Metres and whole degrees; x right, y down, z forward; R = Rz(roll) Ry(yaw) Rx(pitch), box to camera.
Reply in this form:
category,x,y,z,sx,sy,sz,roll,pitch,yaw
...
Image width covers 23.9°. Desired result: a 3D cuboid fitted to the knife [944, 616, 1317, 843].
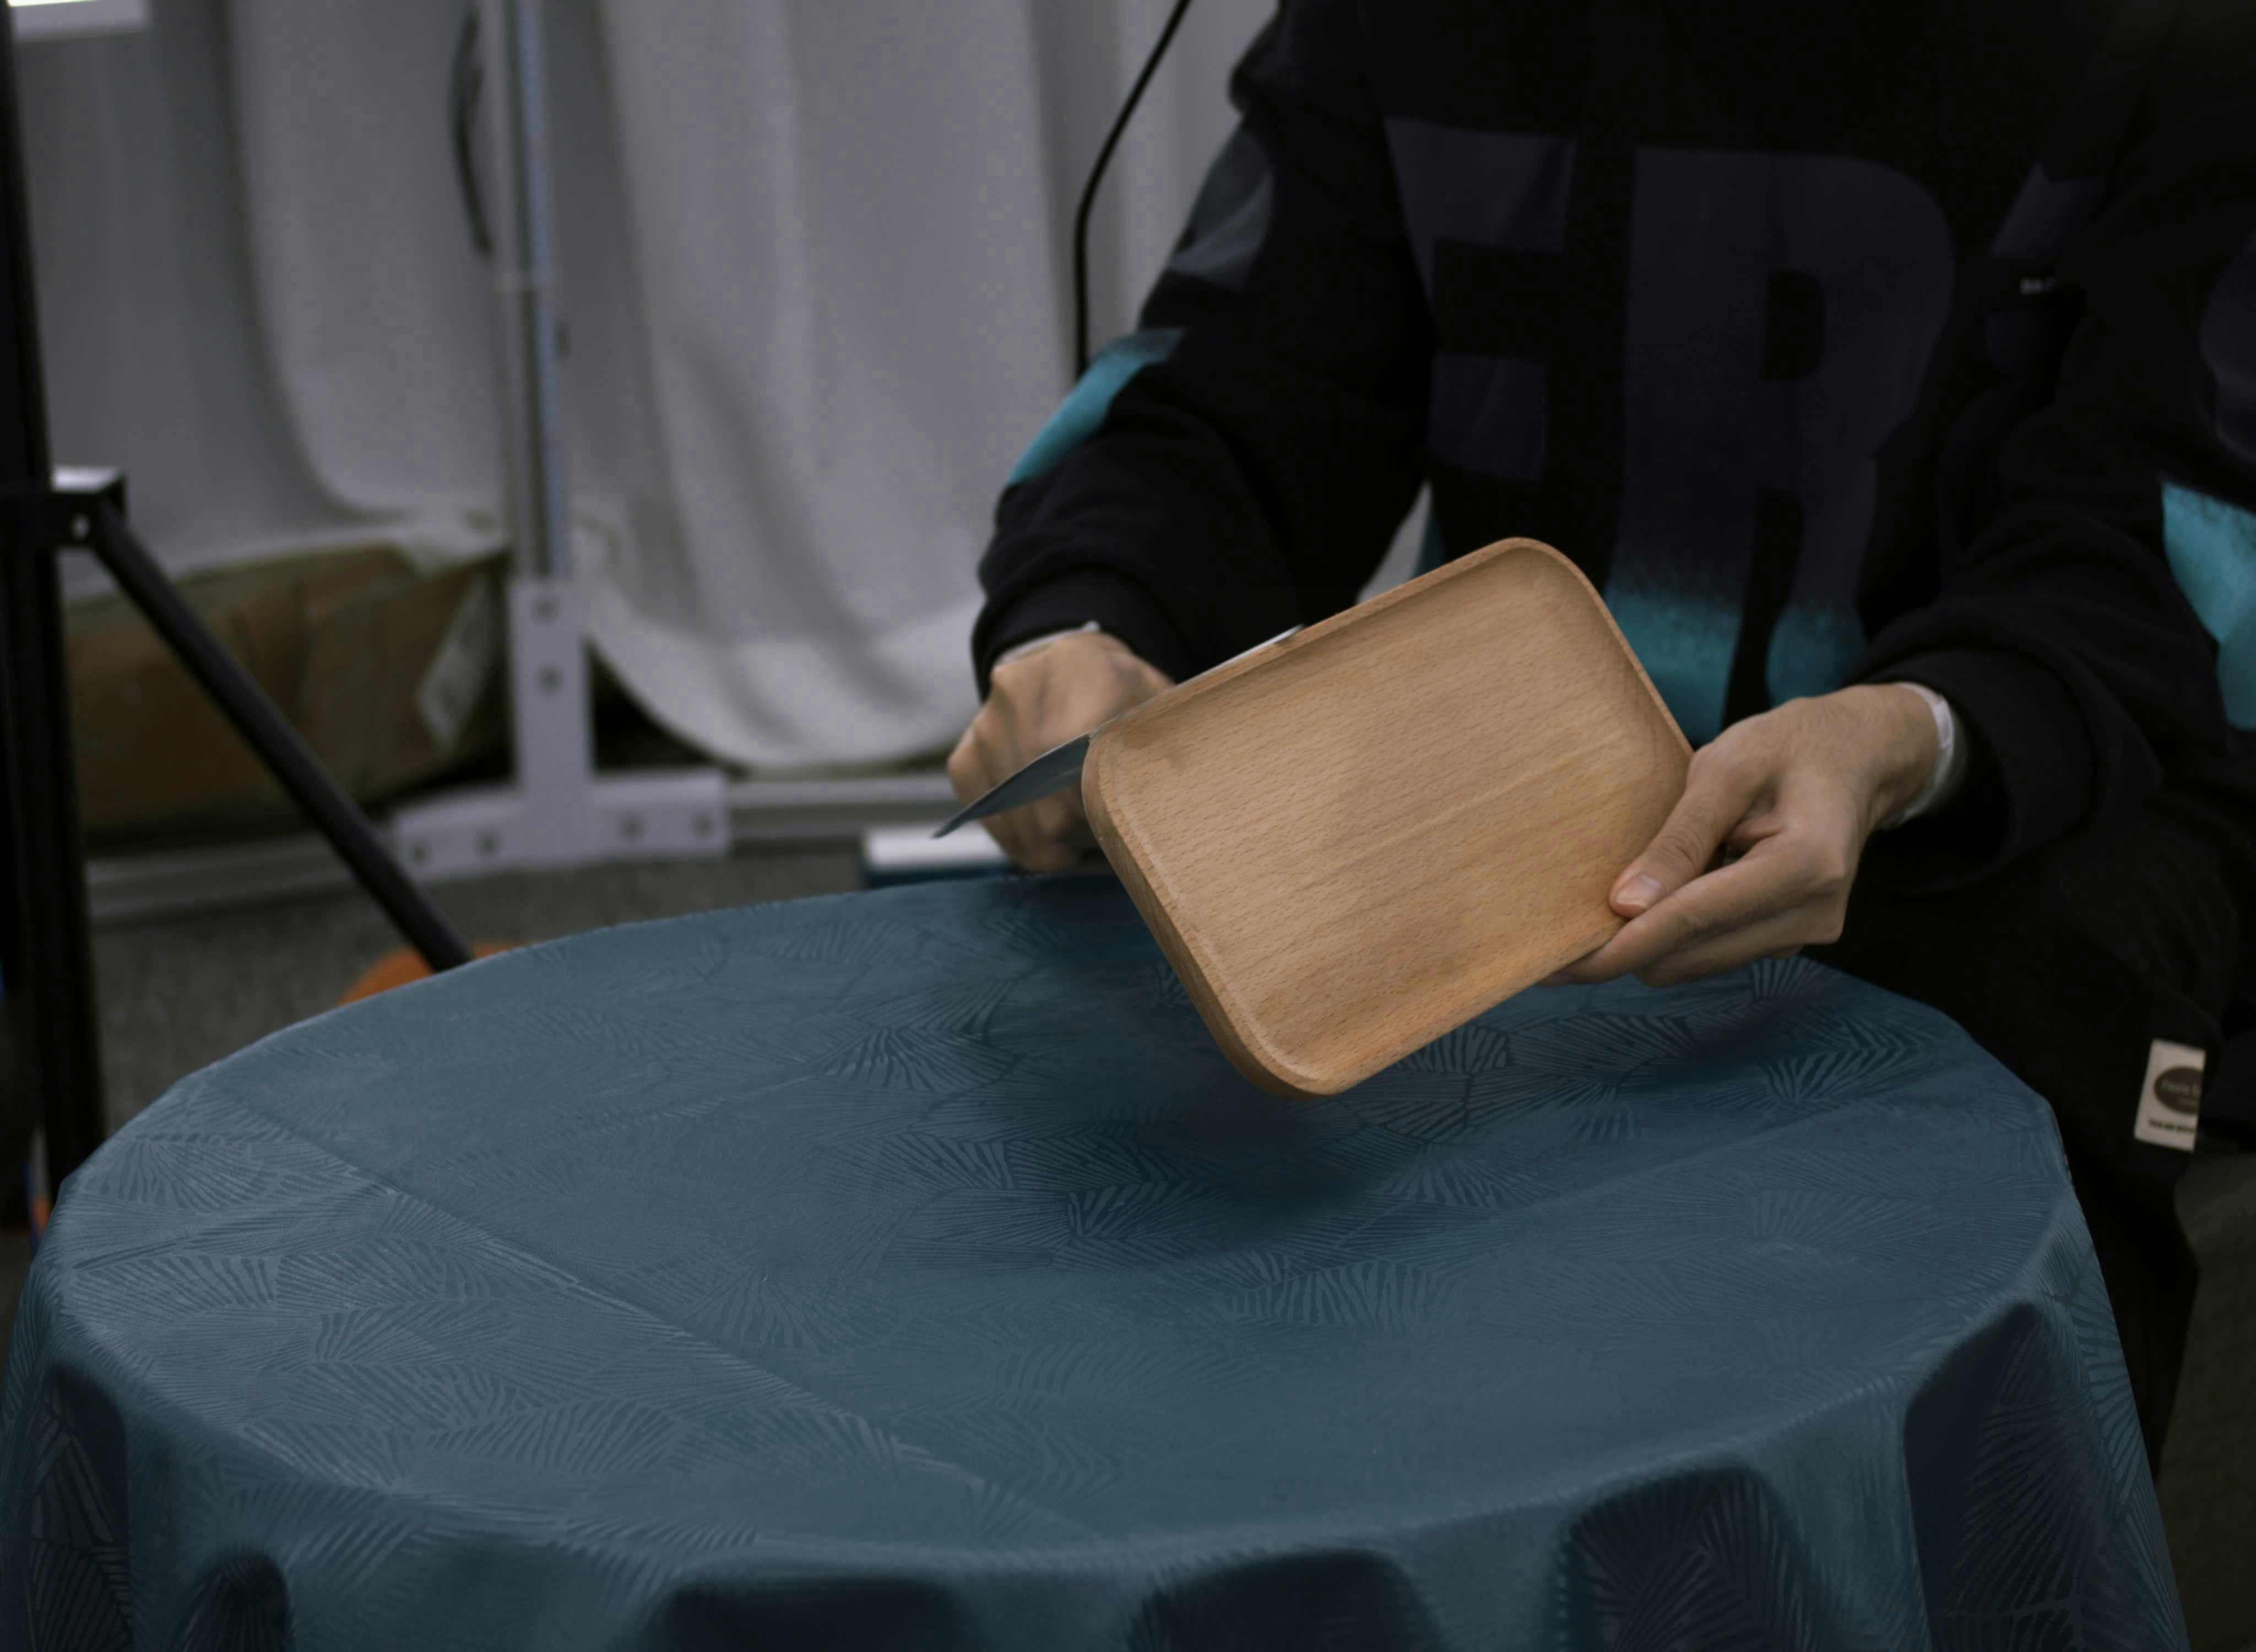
category,x,y,z,sx,sy,sz,roll,pitch,yaw
knife,-0.014,-0.022,1.721,0.092,0.021,0.308,-27,-2,-15

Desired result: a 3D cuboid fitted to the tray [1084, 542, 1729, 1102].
category,x,y,z,sx,sy,sz,roll,pitch,yaw
tray,0.087,-0.004,1.594,0.023,0.131,0.245,-33,-7,42
